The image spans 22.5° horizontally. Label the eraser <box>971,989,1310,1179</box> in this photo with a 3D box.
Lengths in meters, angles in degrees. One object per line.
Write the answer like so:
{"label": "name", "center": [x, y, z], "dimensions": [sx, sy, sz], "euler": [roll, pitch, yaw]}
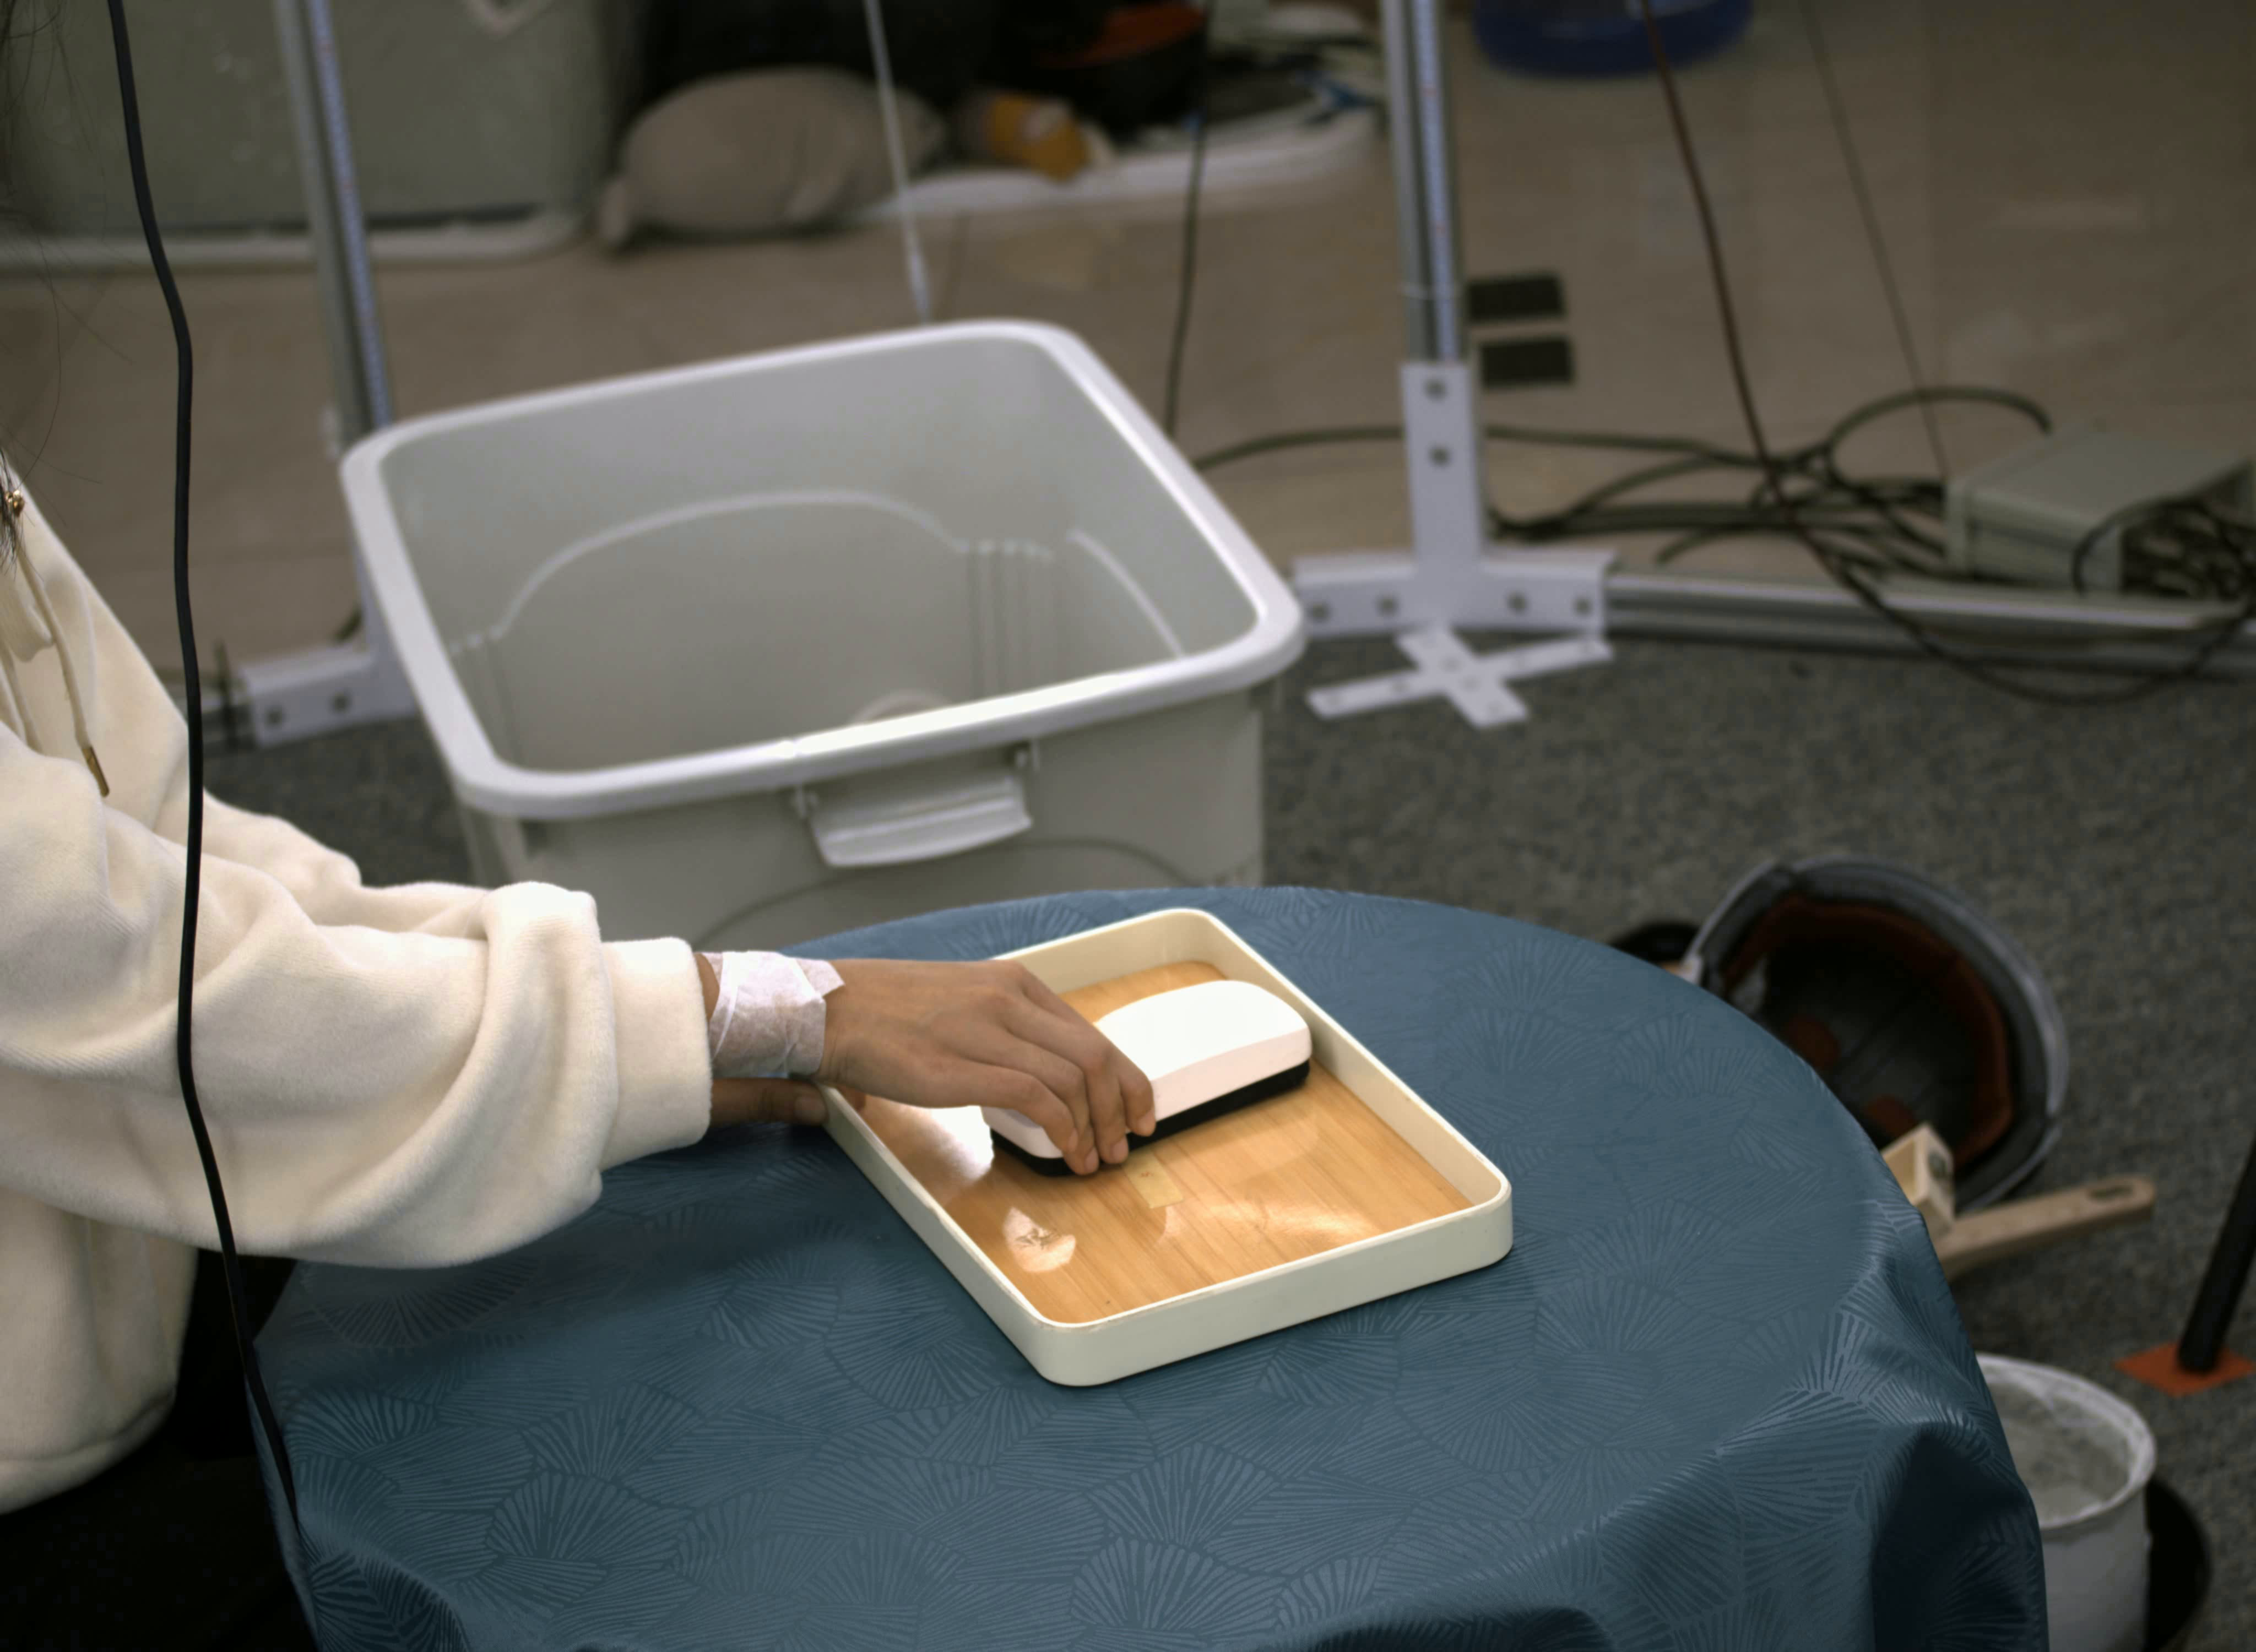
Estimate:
{"label": "eraser", "center": [0.005, 0.096, 2.188], "dimensions": [0.130, 0.035, 0.063], "euler": [-19, 27, -25]}

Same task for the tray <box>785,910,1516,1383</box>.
{"label": "tray", "center": [0.004, 0.117, 2.162], "dimensions": [0.191, 0.028, 0.296], "euler": [-15, 26, -18]}
